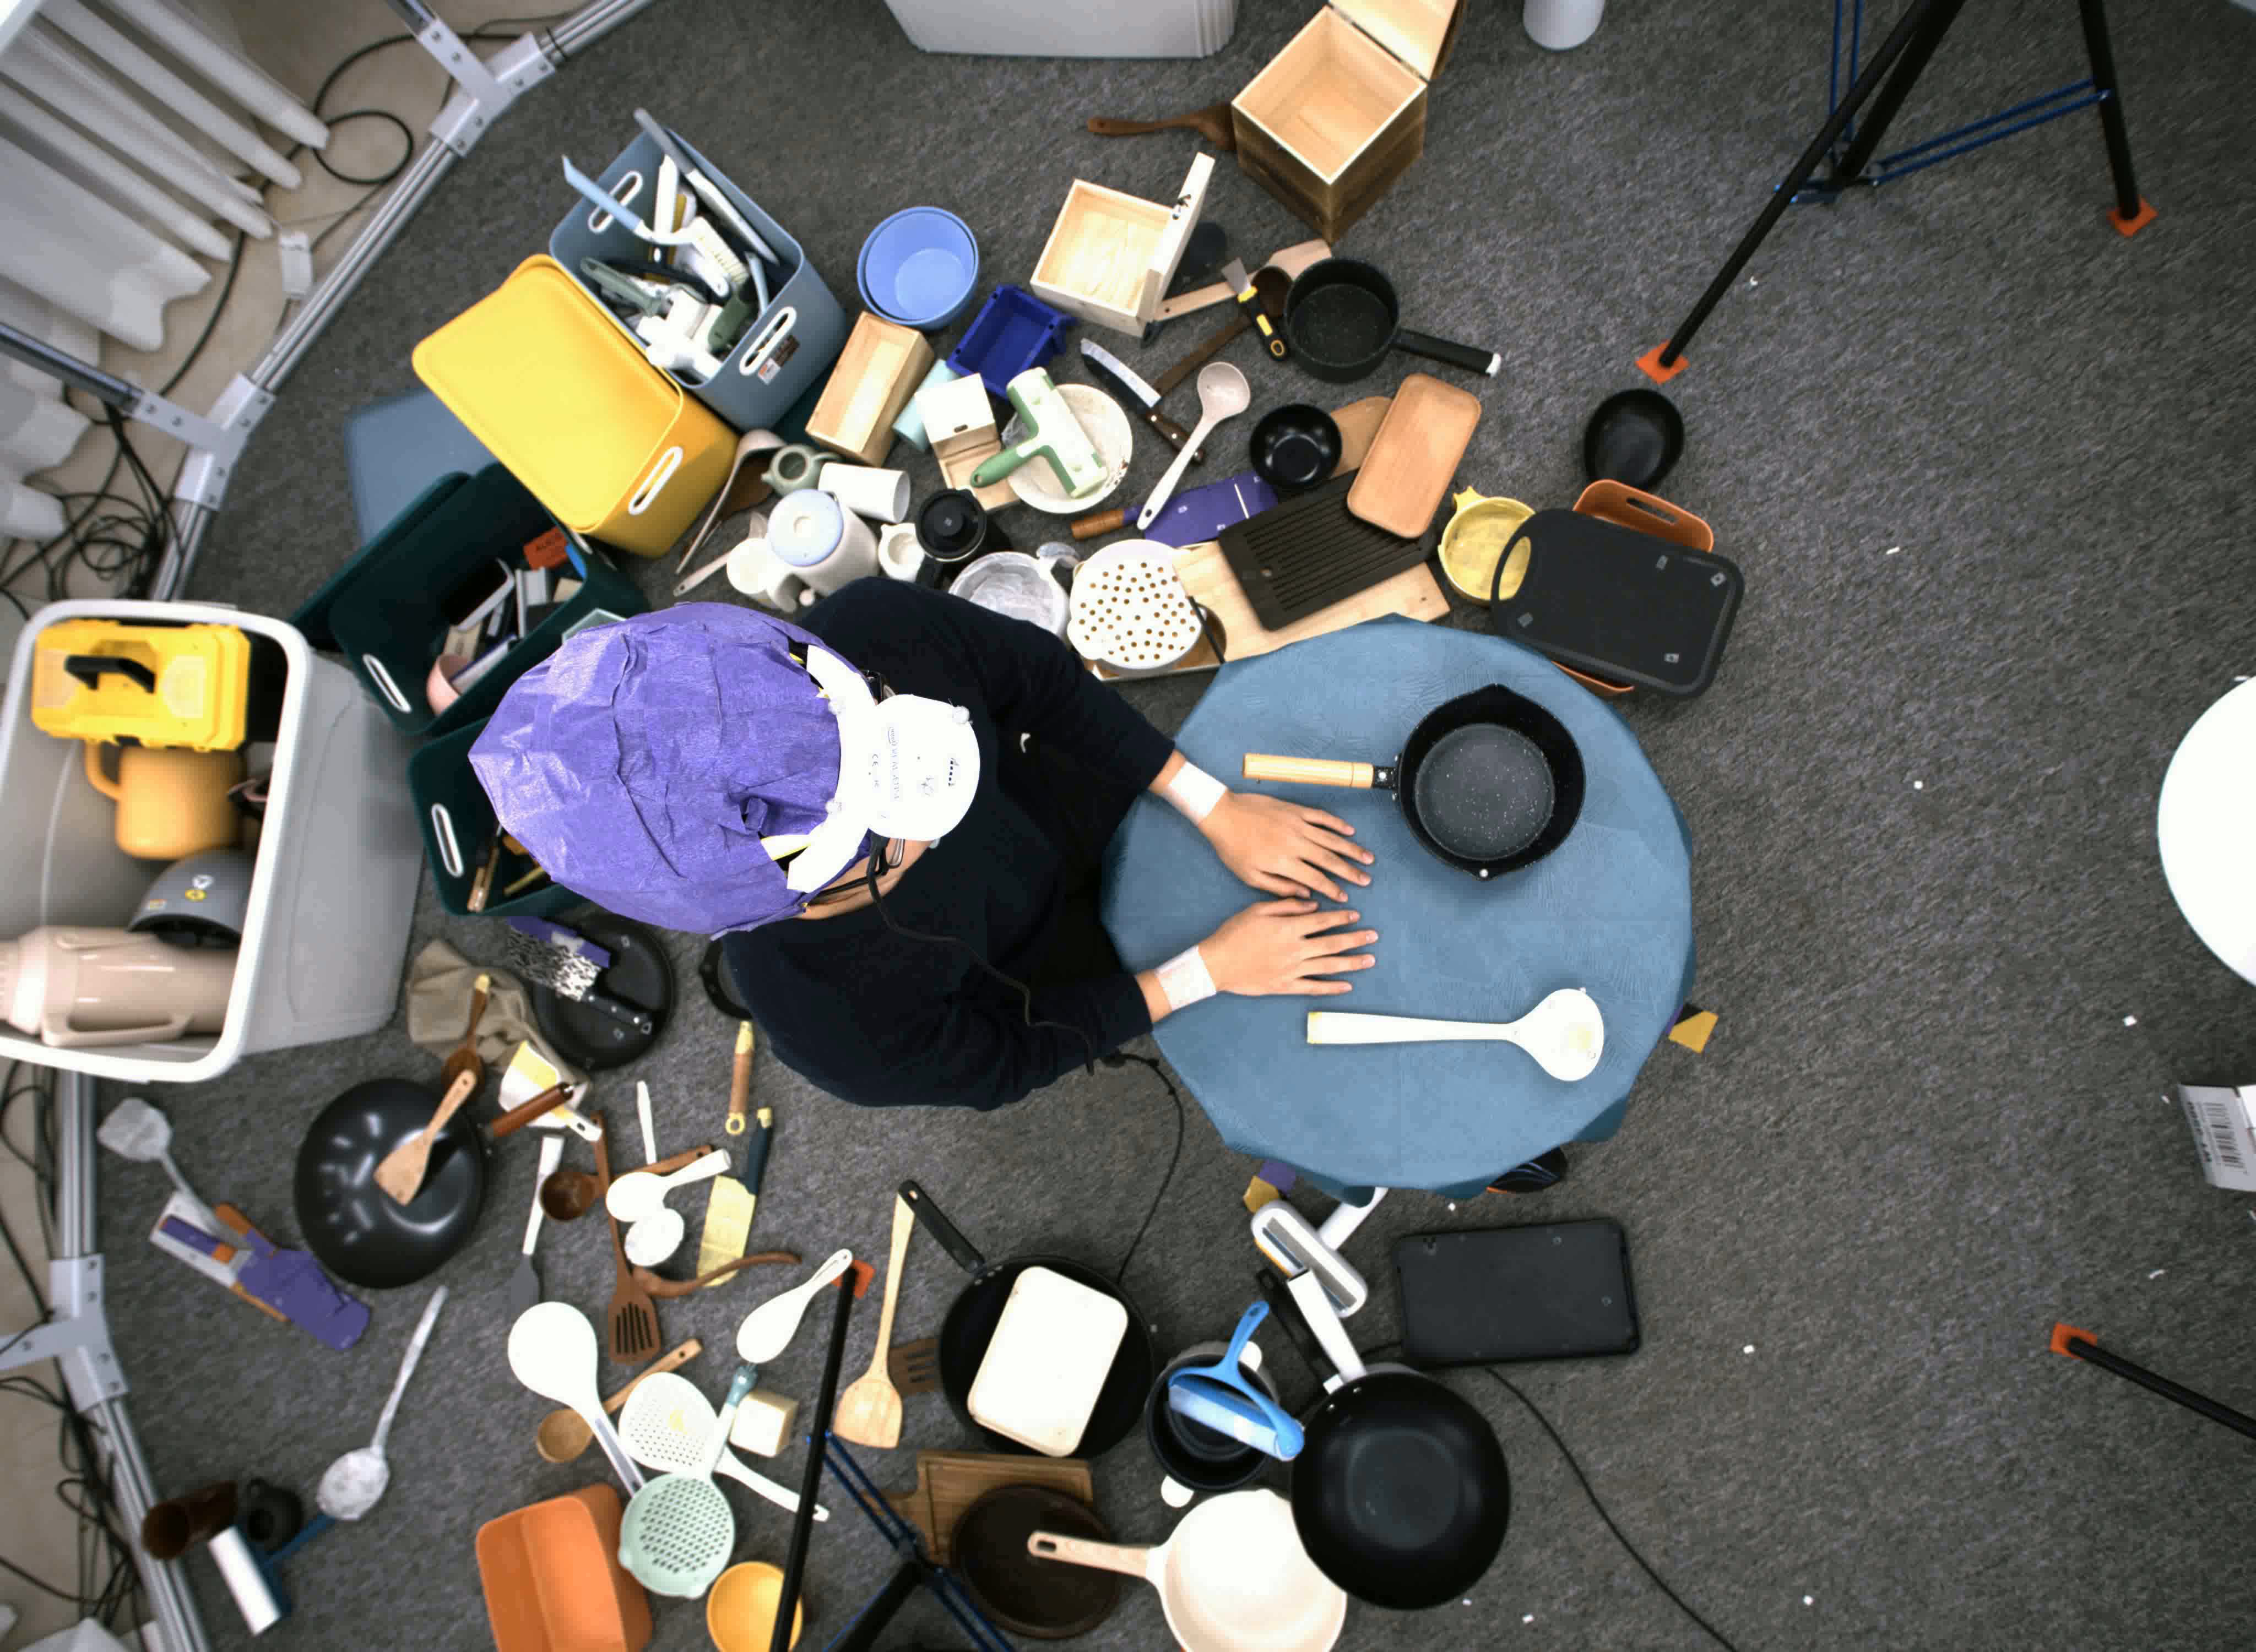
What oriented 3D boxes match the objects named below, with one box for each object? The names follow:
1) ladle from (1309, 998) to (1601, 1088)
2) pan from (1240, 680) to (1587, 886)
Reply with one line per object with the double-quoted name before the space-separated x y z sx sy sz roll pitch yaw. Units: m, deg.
"ladle" 0.329 0.209 1.414 0.294 0.069 0.090 3 91 13
"pan" 0.288 -0.046 1.408 0.344 0.108 0.207 3 88 9
